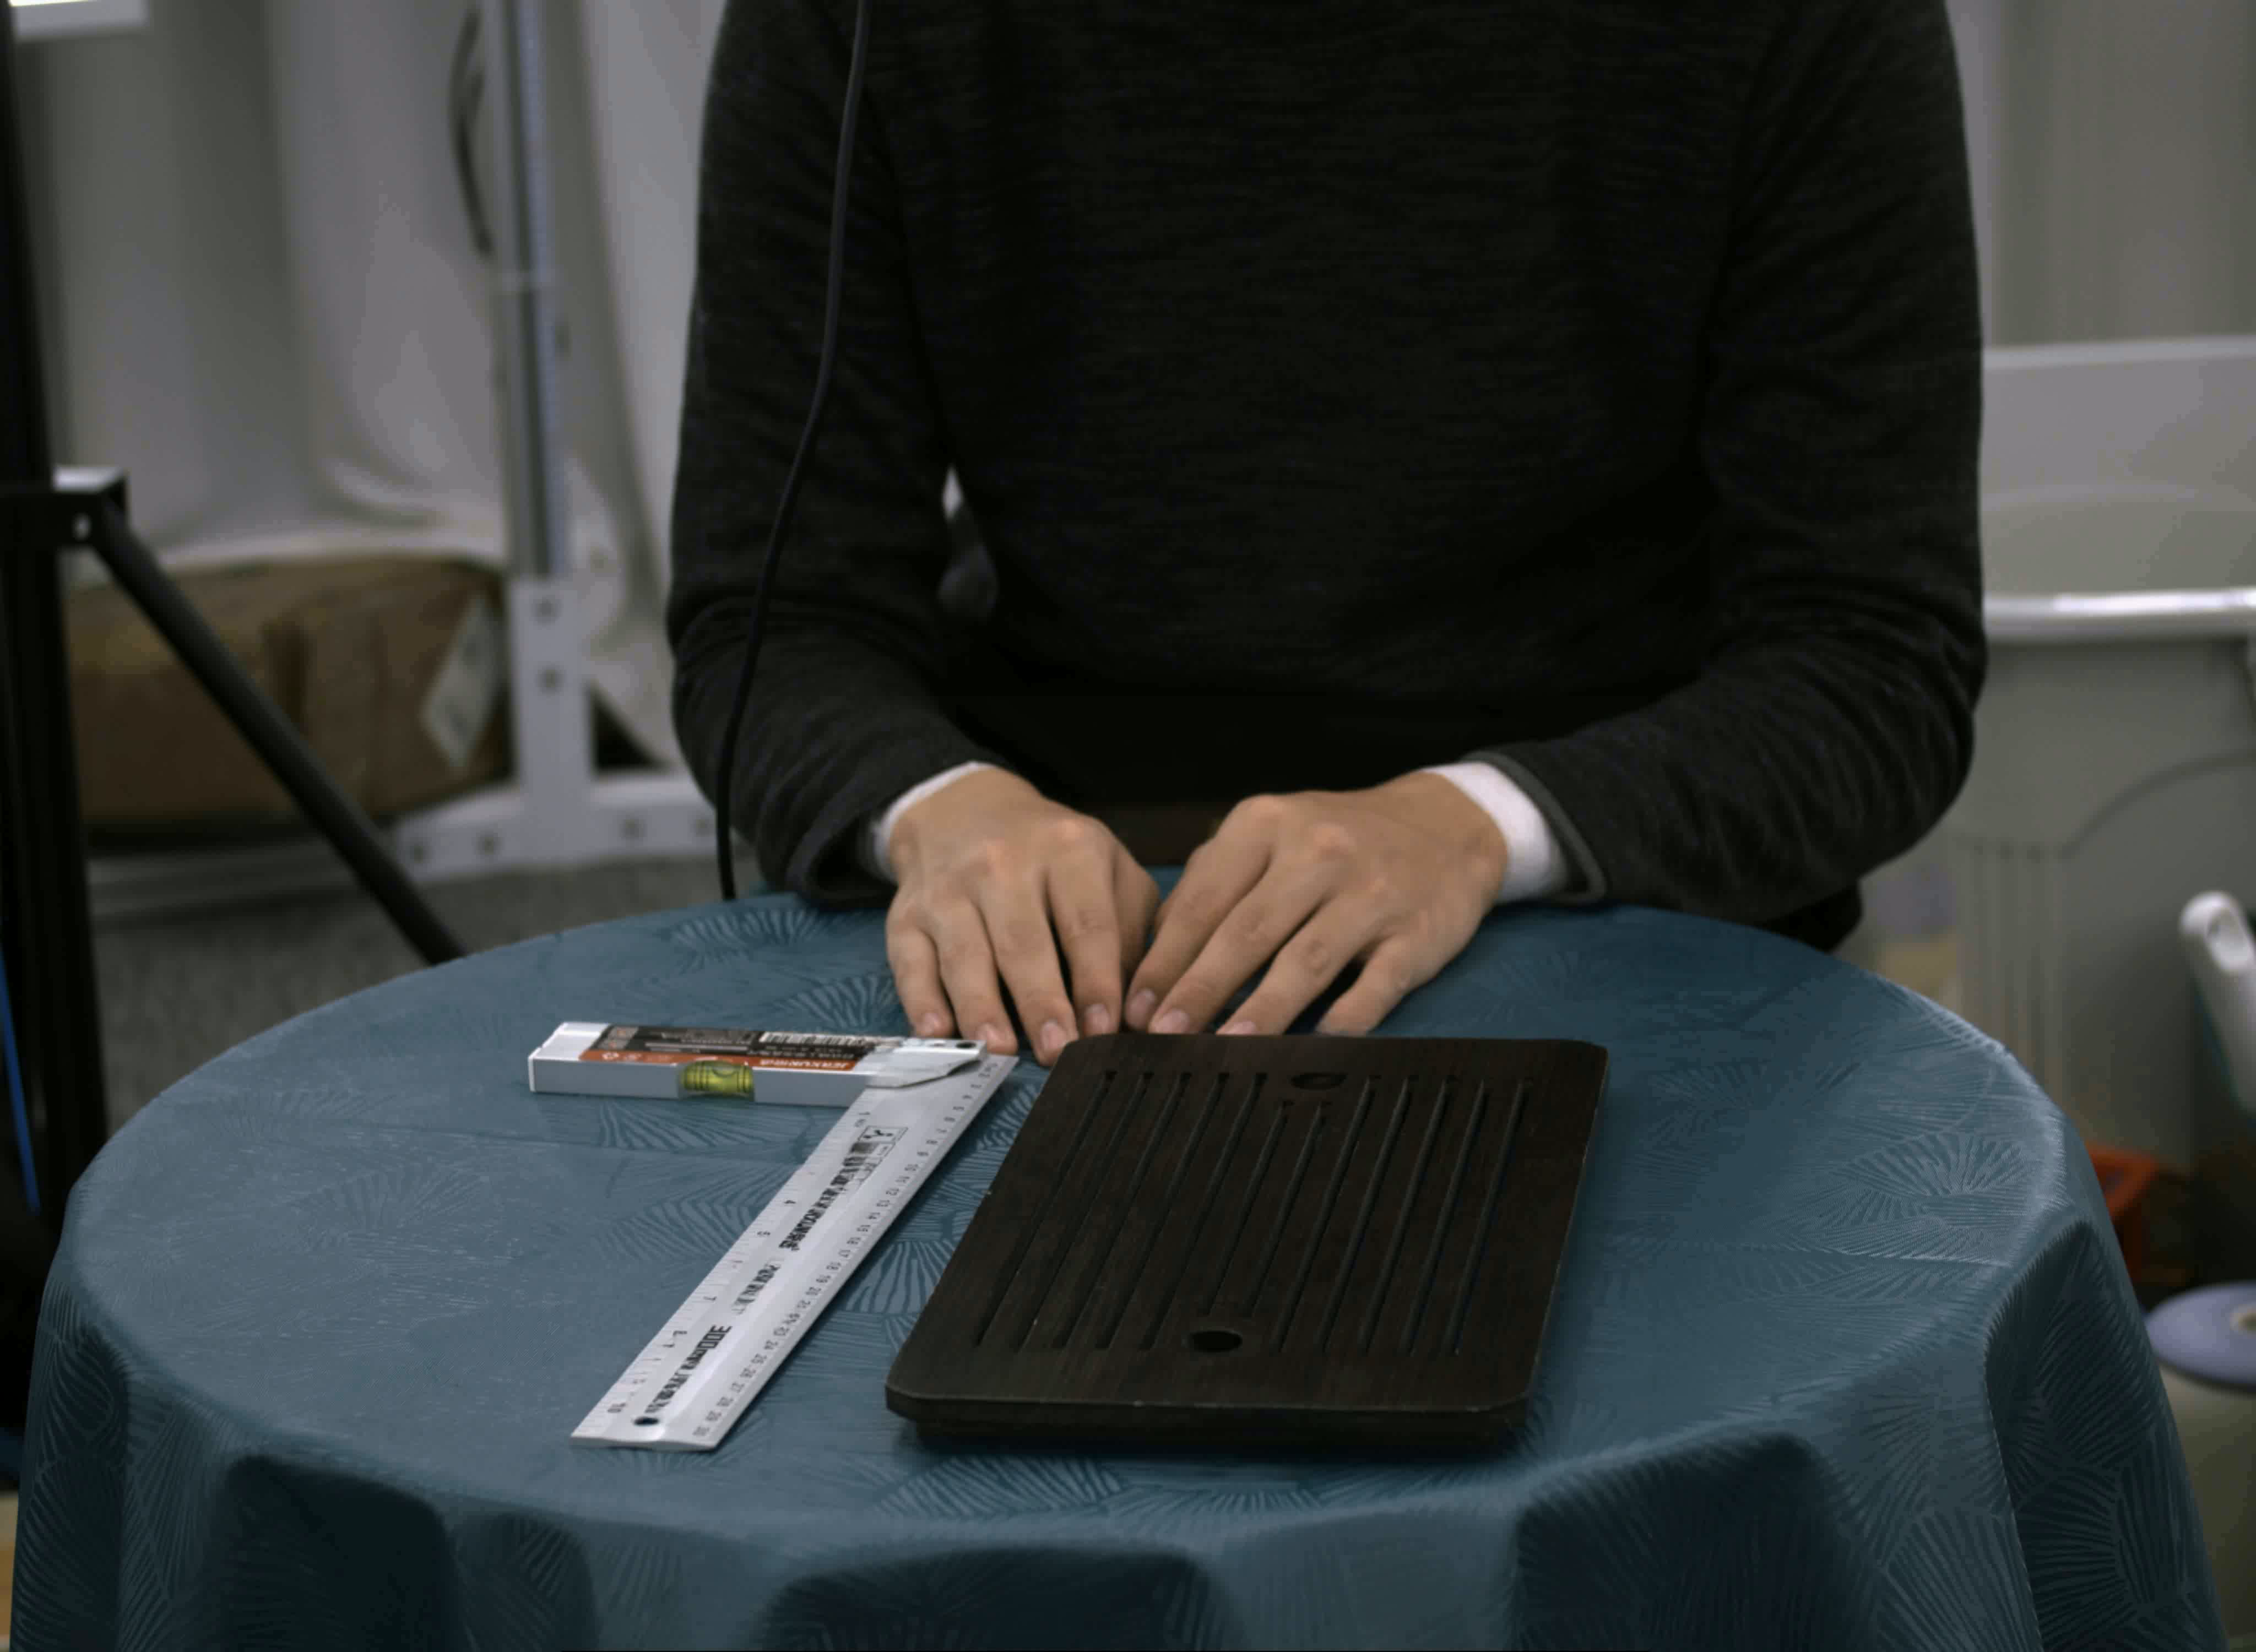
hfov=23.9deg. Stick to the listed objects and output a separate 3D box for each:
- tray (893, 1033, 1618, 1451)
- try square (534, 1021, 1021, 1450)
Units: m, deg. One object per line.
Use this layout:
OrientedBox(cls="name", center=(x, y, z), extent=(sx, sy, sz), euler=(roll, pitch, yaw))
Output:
OrientedBox(cls="tray", center=(0.045, 0.114, 1.494), extent=(0.171, 0.018, 0.304), euler=(0, 16, 10))
OrientedBox(cls="try square", center=(-0.141, 0.114, 1.543), extent=(0.153, 0.016, 0.310), euler=(2, 17, 15))
